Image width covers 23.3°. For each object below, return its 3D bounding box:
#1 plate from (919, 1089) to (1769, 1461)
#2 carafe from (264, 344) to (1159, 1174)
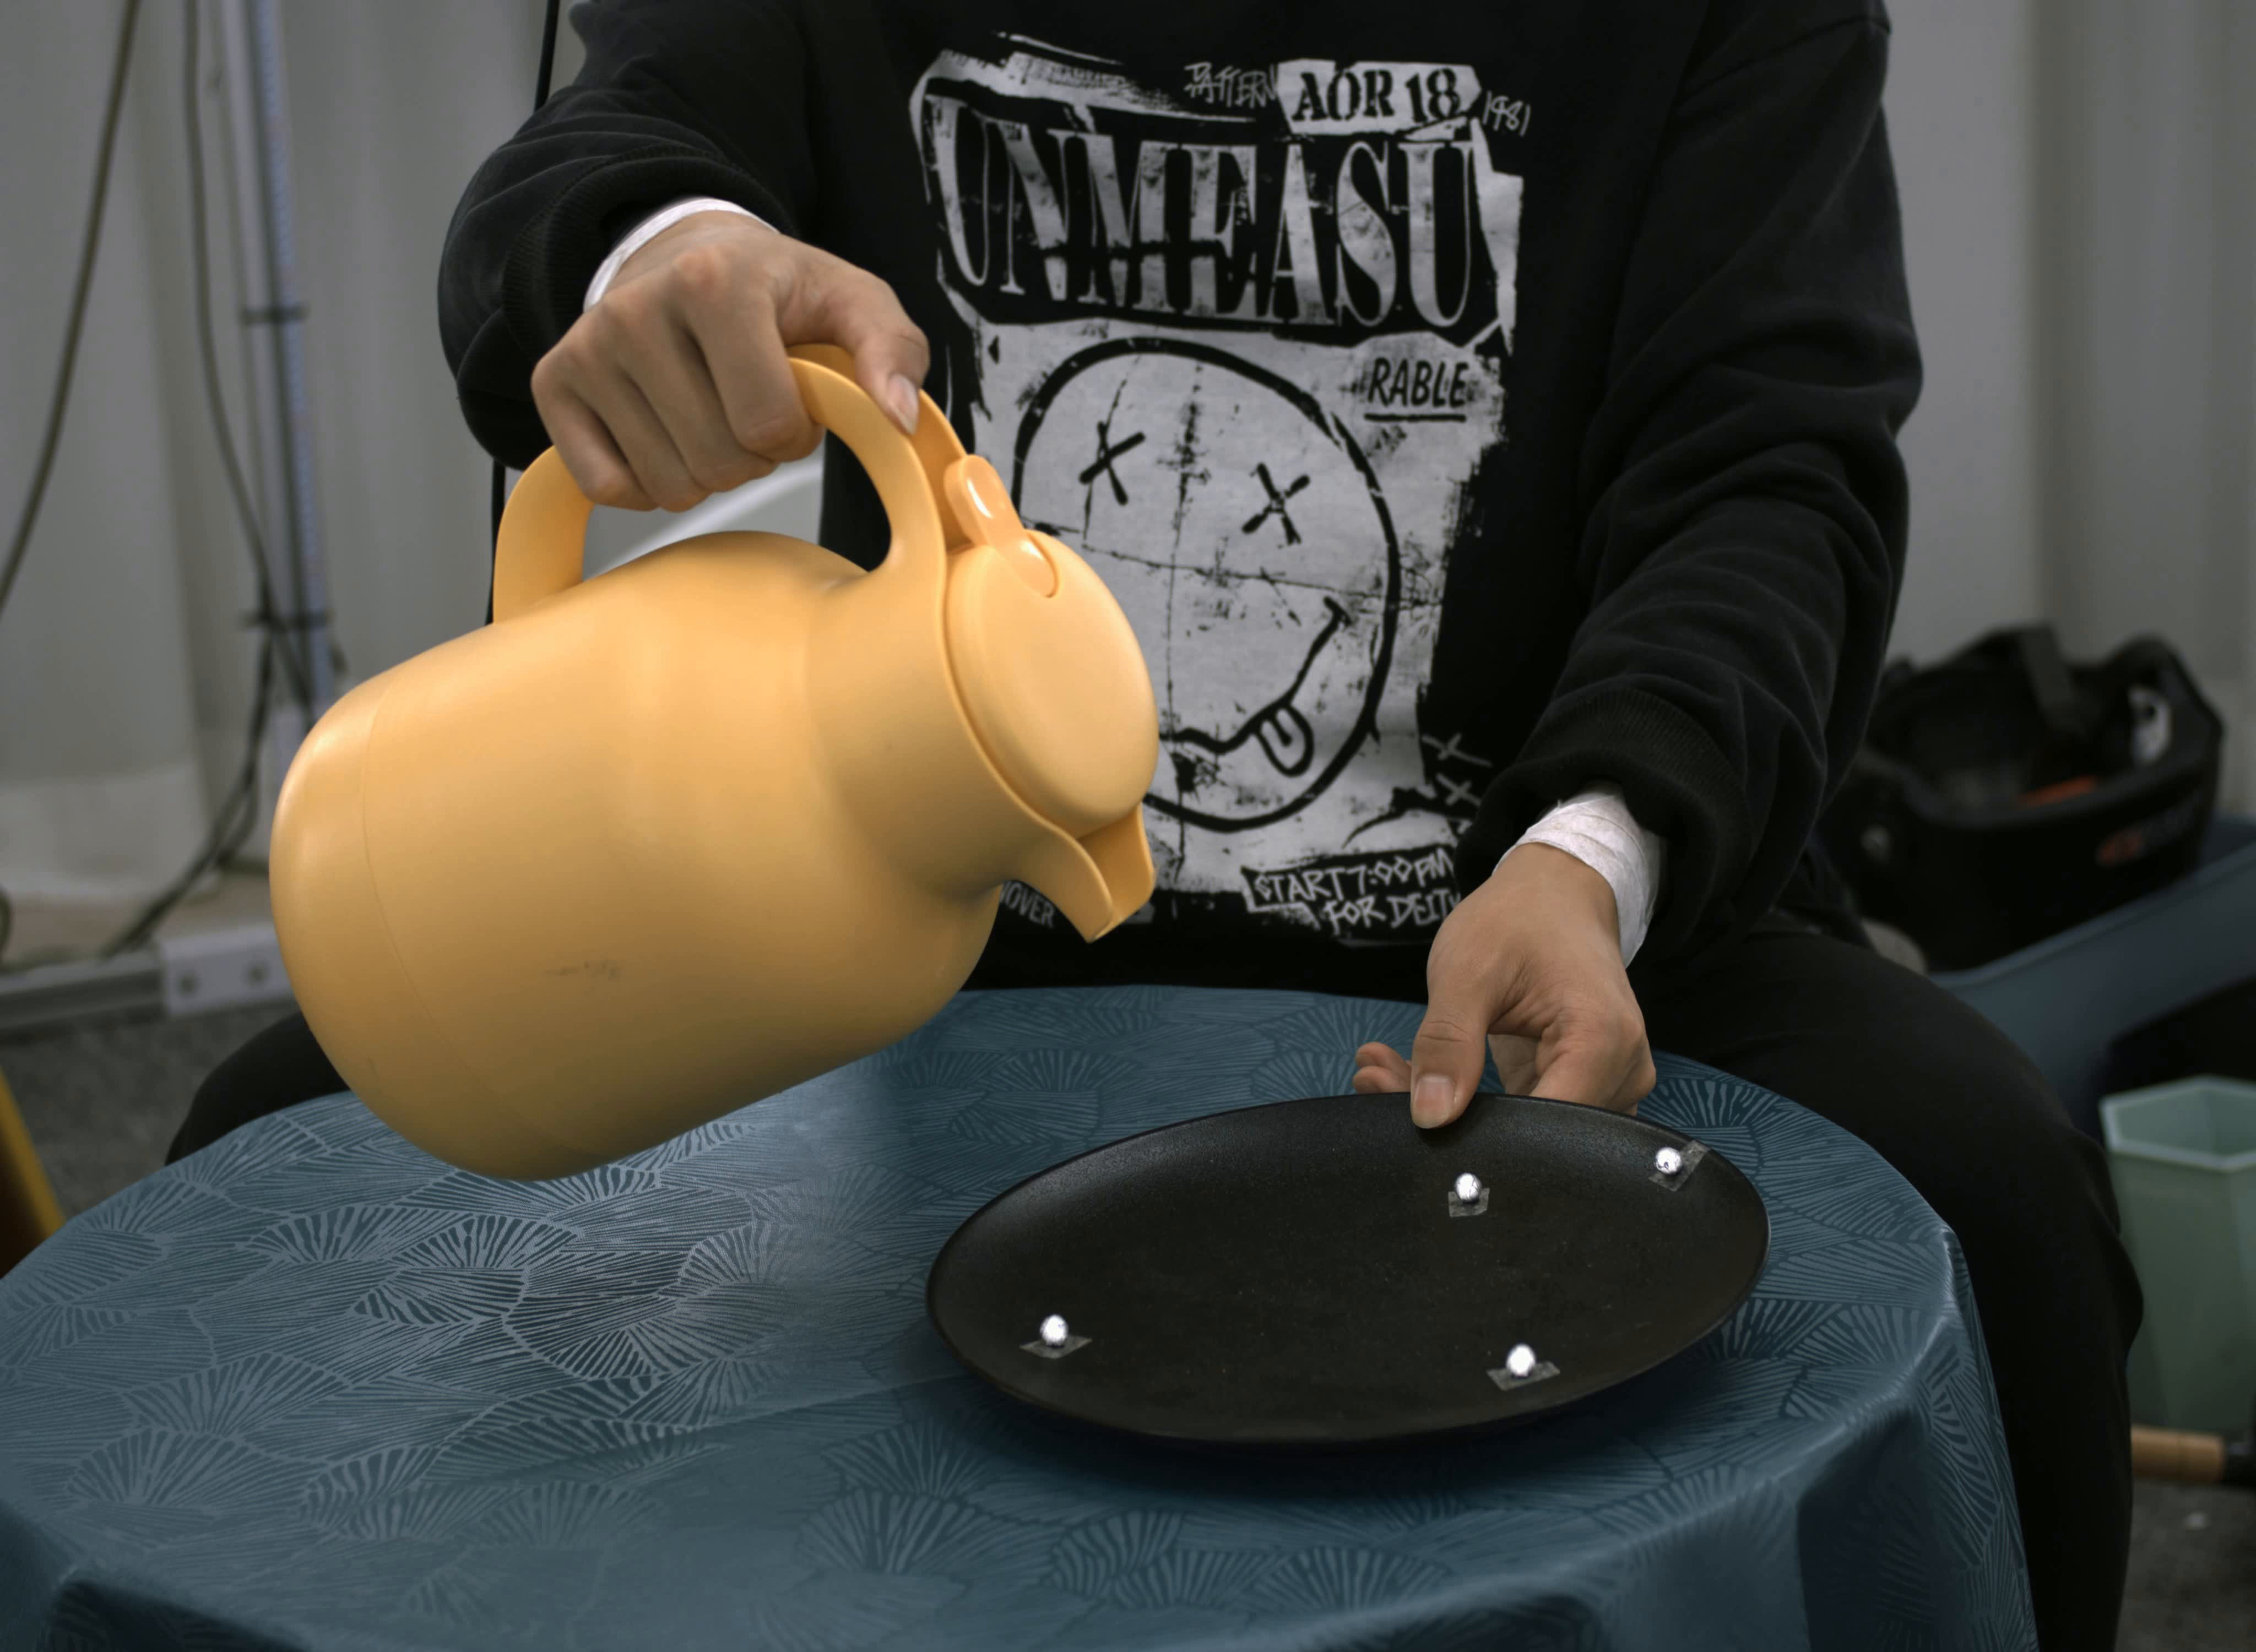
[{"bbox_3d":[0.062,0.132,1.564,0.243,0.023,0.246,-5,19,1],"label":"plate"},{"bbox_3d":[-0.122,-0.022,1.600,0.260,0.203,0.163,-21,-1,28],"label":"carafe"}]
